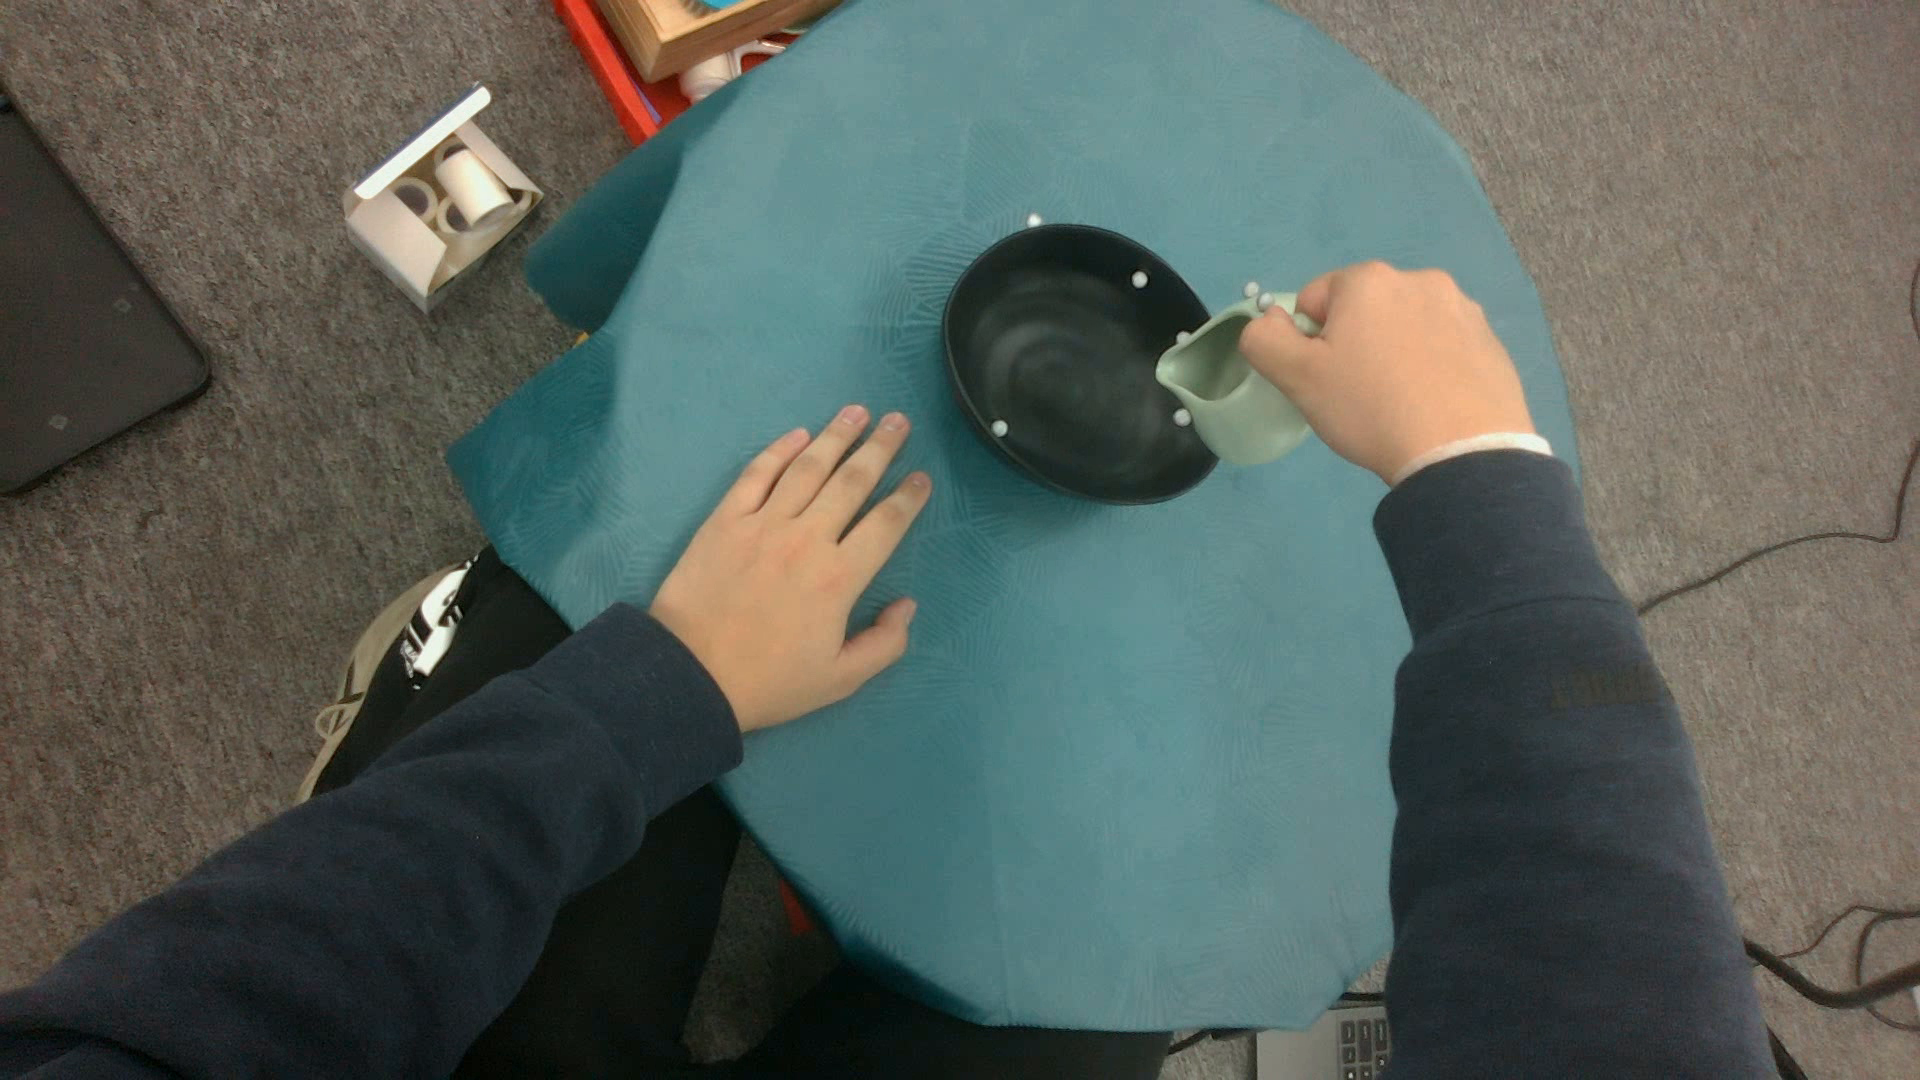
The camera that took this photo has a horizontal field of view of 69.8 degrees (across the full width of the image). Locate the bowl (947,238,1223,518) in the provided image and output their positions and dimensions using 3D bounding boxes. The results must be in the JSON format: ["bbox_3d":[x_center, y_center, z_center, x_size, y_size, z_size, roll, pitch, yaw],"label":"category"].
[{"bbox_3d":[0.064,-0.080,0.727,0.170,0.066,0.137,25,75,-17],"label":"bowl"}]

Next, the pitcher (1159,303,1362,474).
[{"bbox_3d":[0.150,-0.078,0.657,0.060,0.107,0.086,19,72,-30],"label":"pitcher"}]
